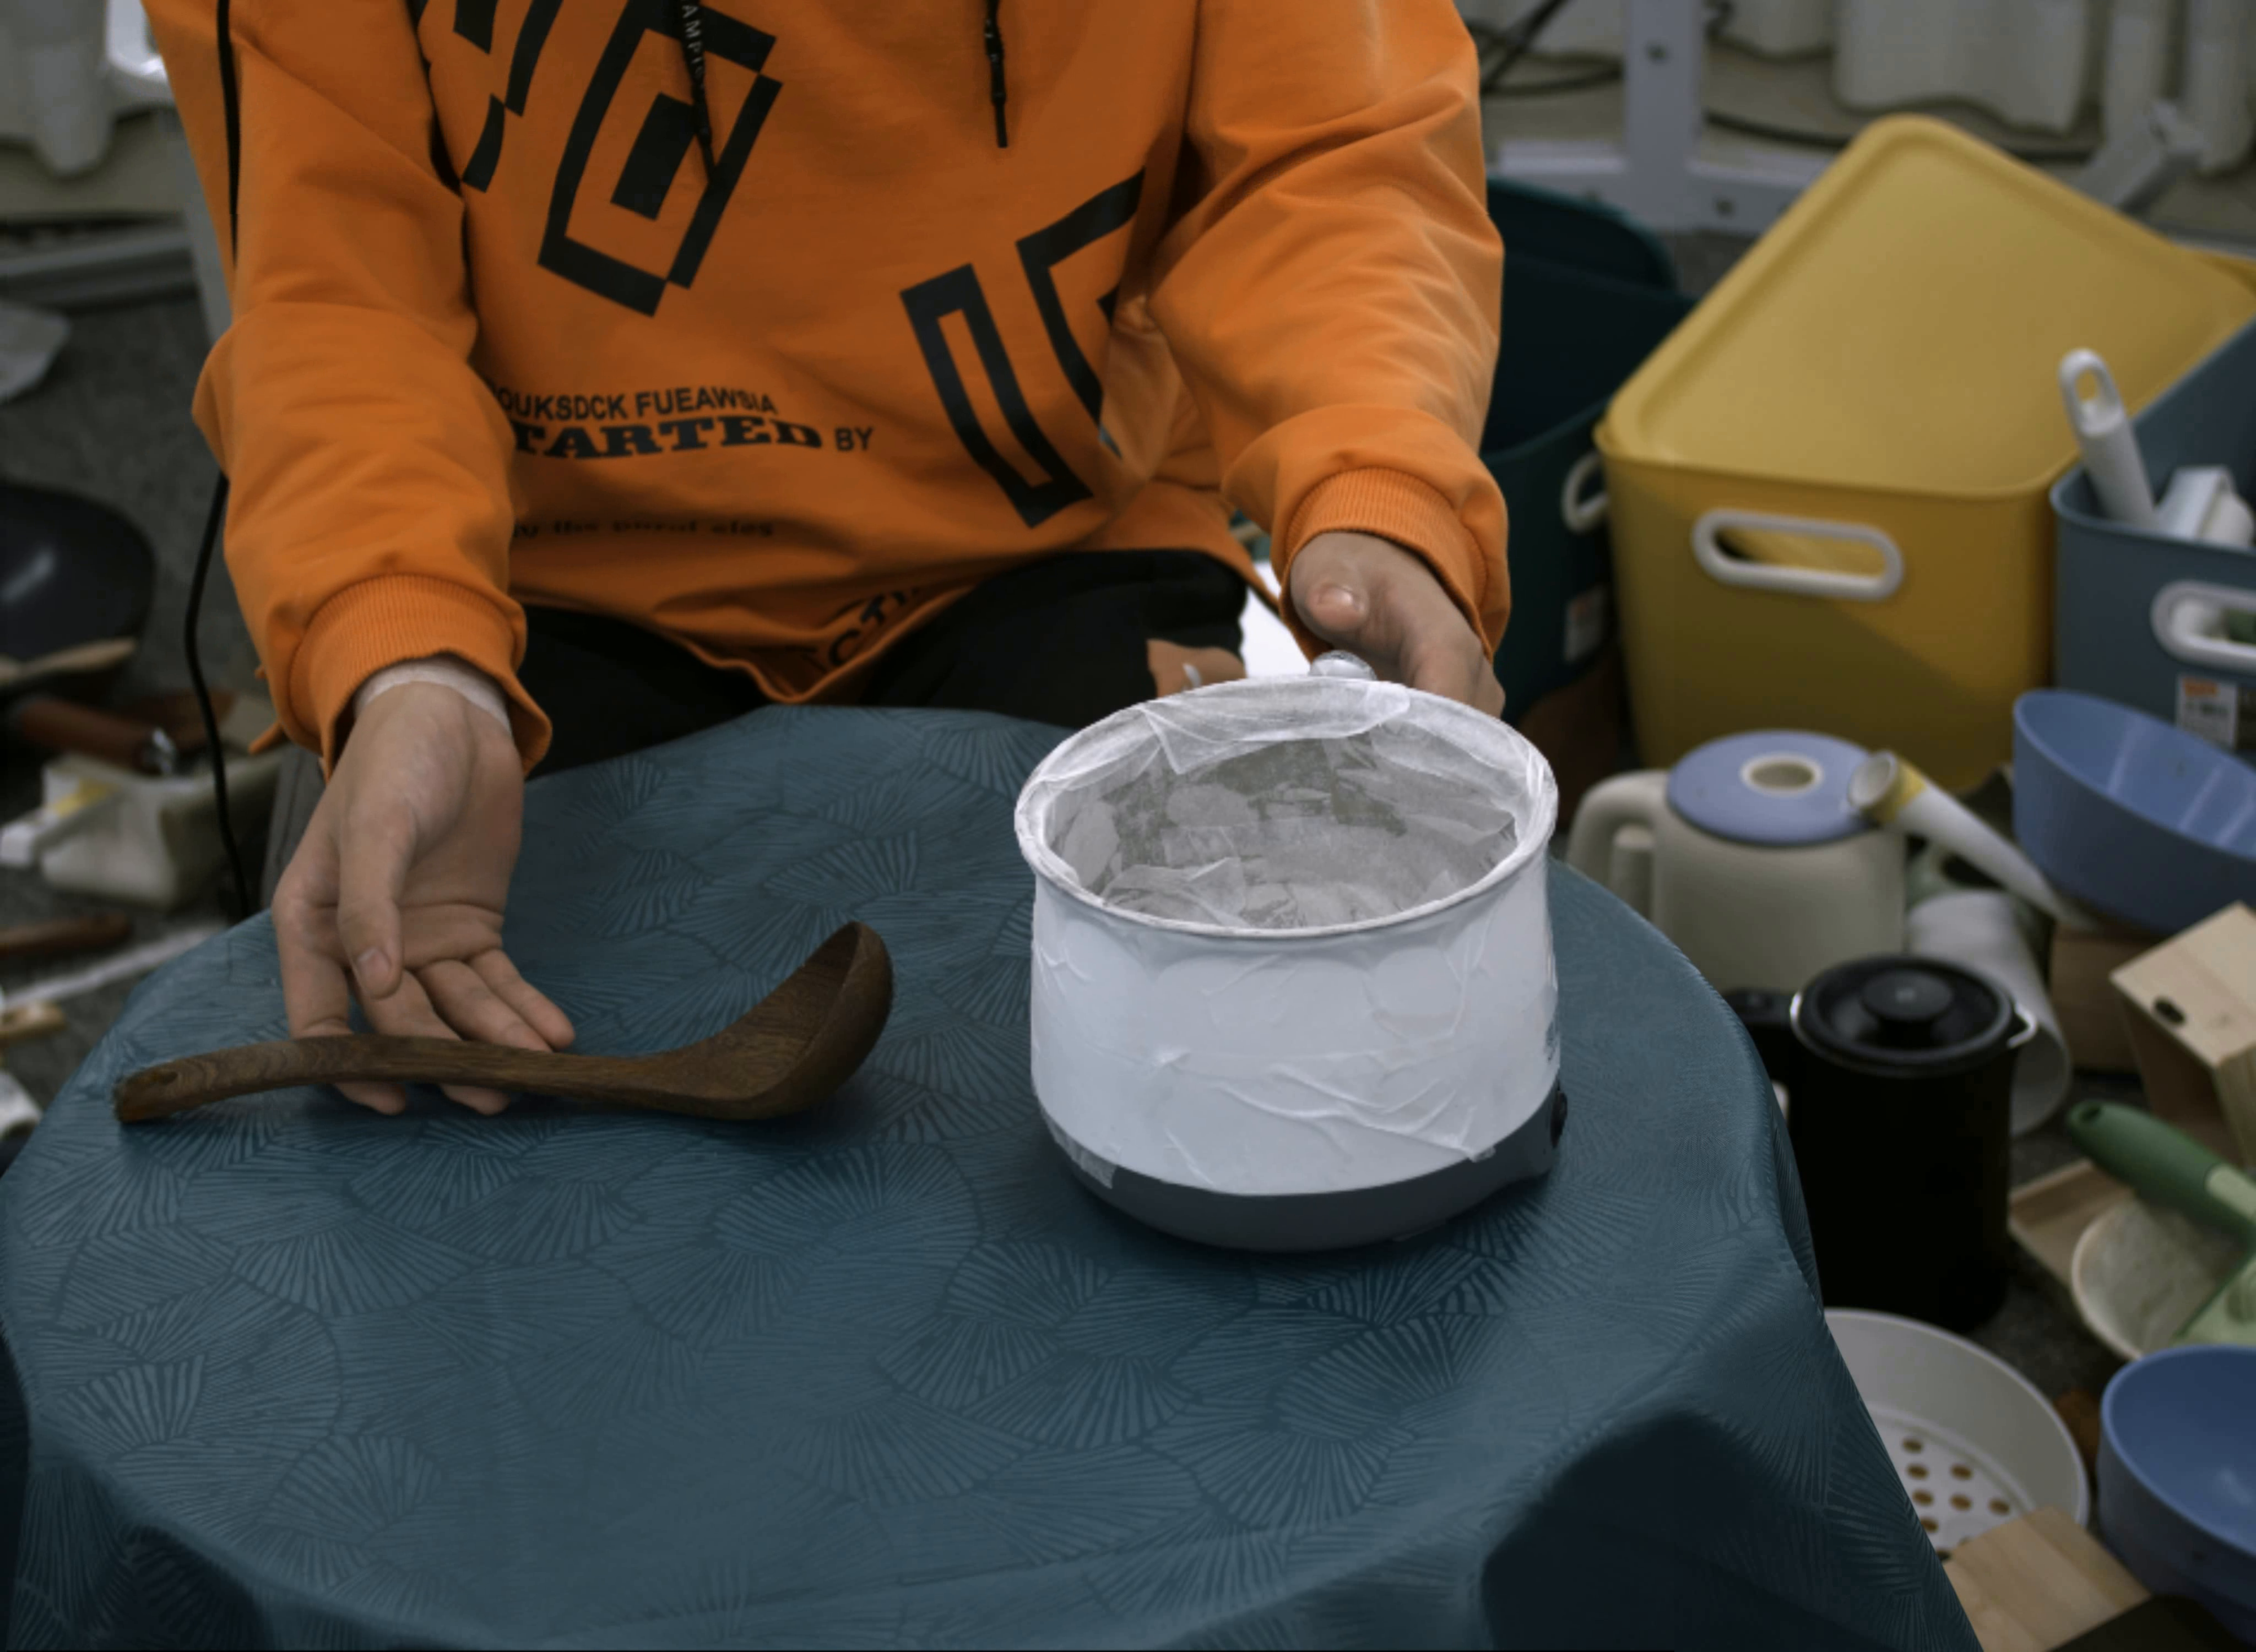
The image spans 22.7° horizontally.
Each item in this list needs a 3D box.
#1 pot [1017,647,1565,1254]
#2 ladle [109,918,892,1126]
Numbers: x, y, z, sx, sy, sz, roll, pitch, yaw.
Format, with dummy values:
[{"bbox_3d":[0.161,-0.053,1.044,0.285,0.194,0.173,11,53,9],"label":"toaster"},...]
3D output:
[{"bbox_3d":[0.059,0.034,1.877,0.177,0.135,0.238,3,28,10],"label":"pot"},{"bbox_3d":[-0.215,0.067,1.913,0.272,0.070,0.077,0,26,4],"label":"ladle"}]
